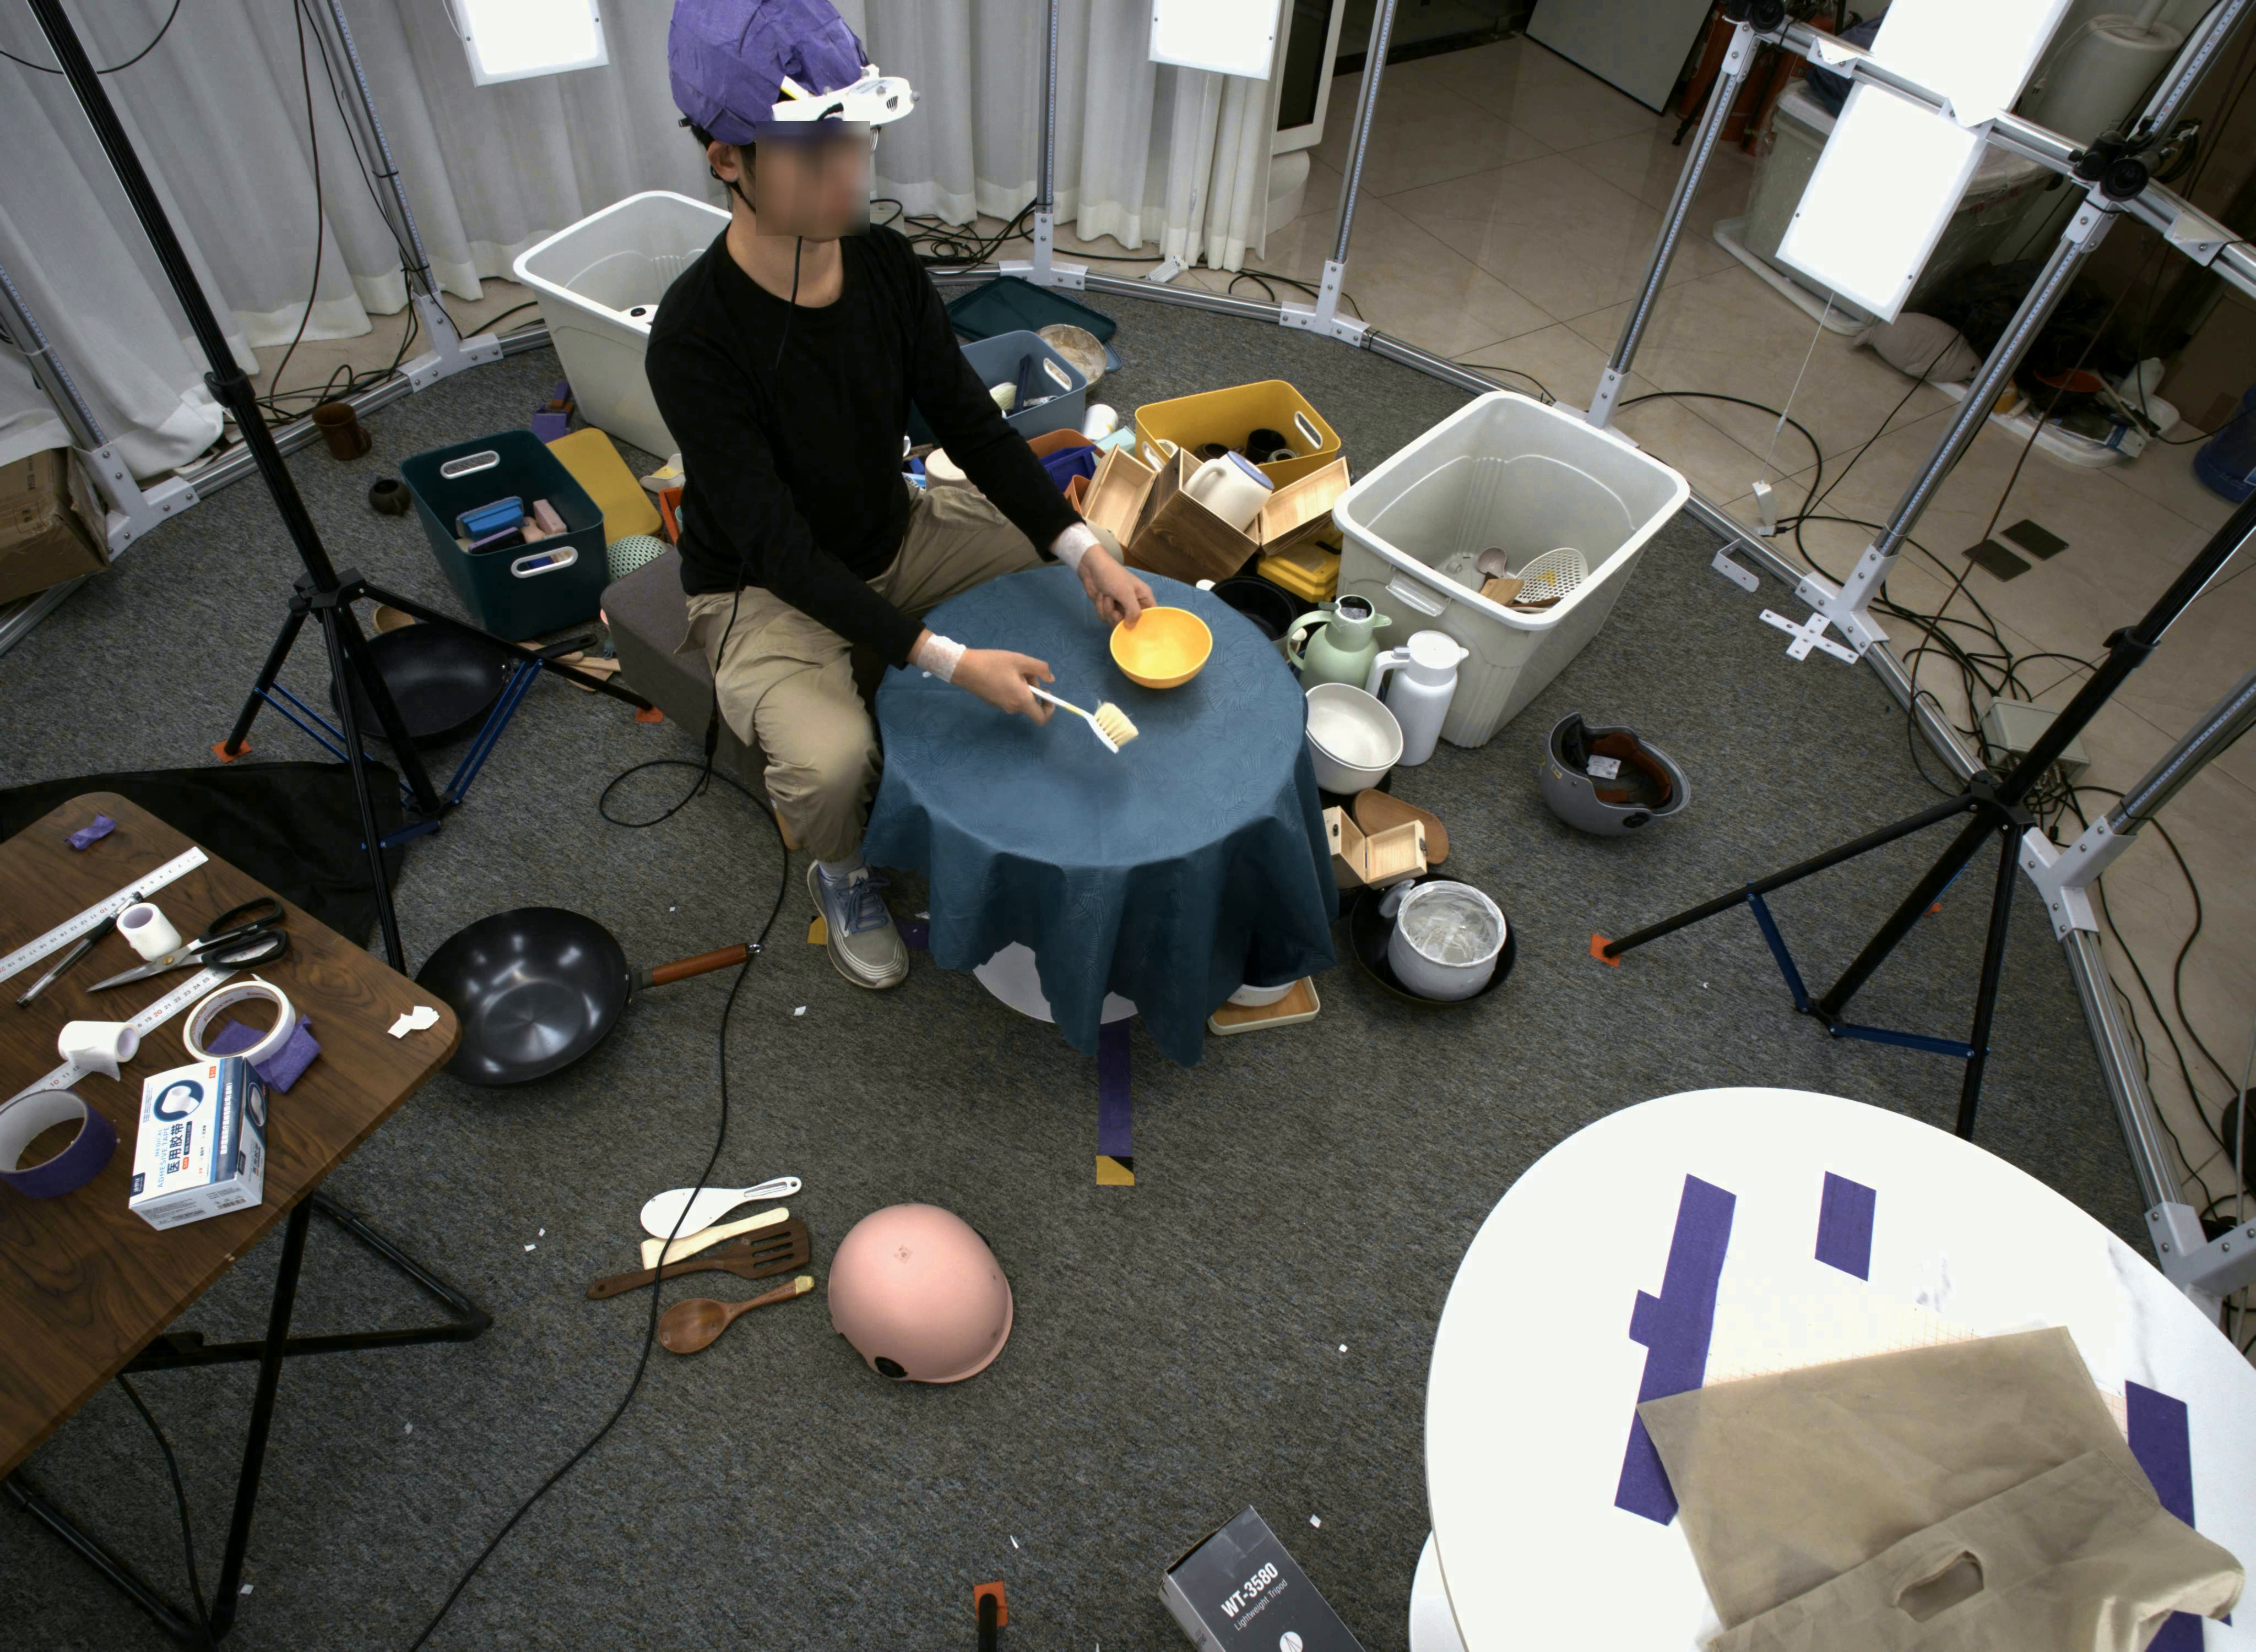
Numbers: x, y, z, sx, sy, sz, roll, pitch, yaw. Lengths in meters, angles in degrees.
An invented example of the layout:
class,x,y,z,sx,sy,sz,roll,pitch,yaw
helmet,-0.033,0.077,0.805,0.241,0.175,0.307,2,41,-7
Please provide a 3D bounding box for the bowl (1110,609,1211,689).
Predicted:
class,x,y,z,sx,sy,sz,roll,pitch,yaw
bowl,0.047,-0.243,1.842,0.145,0.058,0.149,-2,50,2

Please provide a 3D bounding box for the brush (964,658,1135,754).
class,x,y,z,sx,sy,sz,roll,pitch,yaw
brush,-0.104,-0.181,1.714,0.269,0.067,0.056,31,87,22
